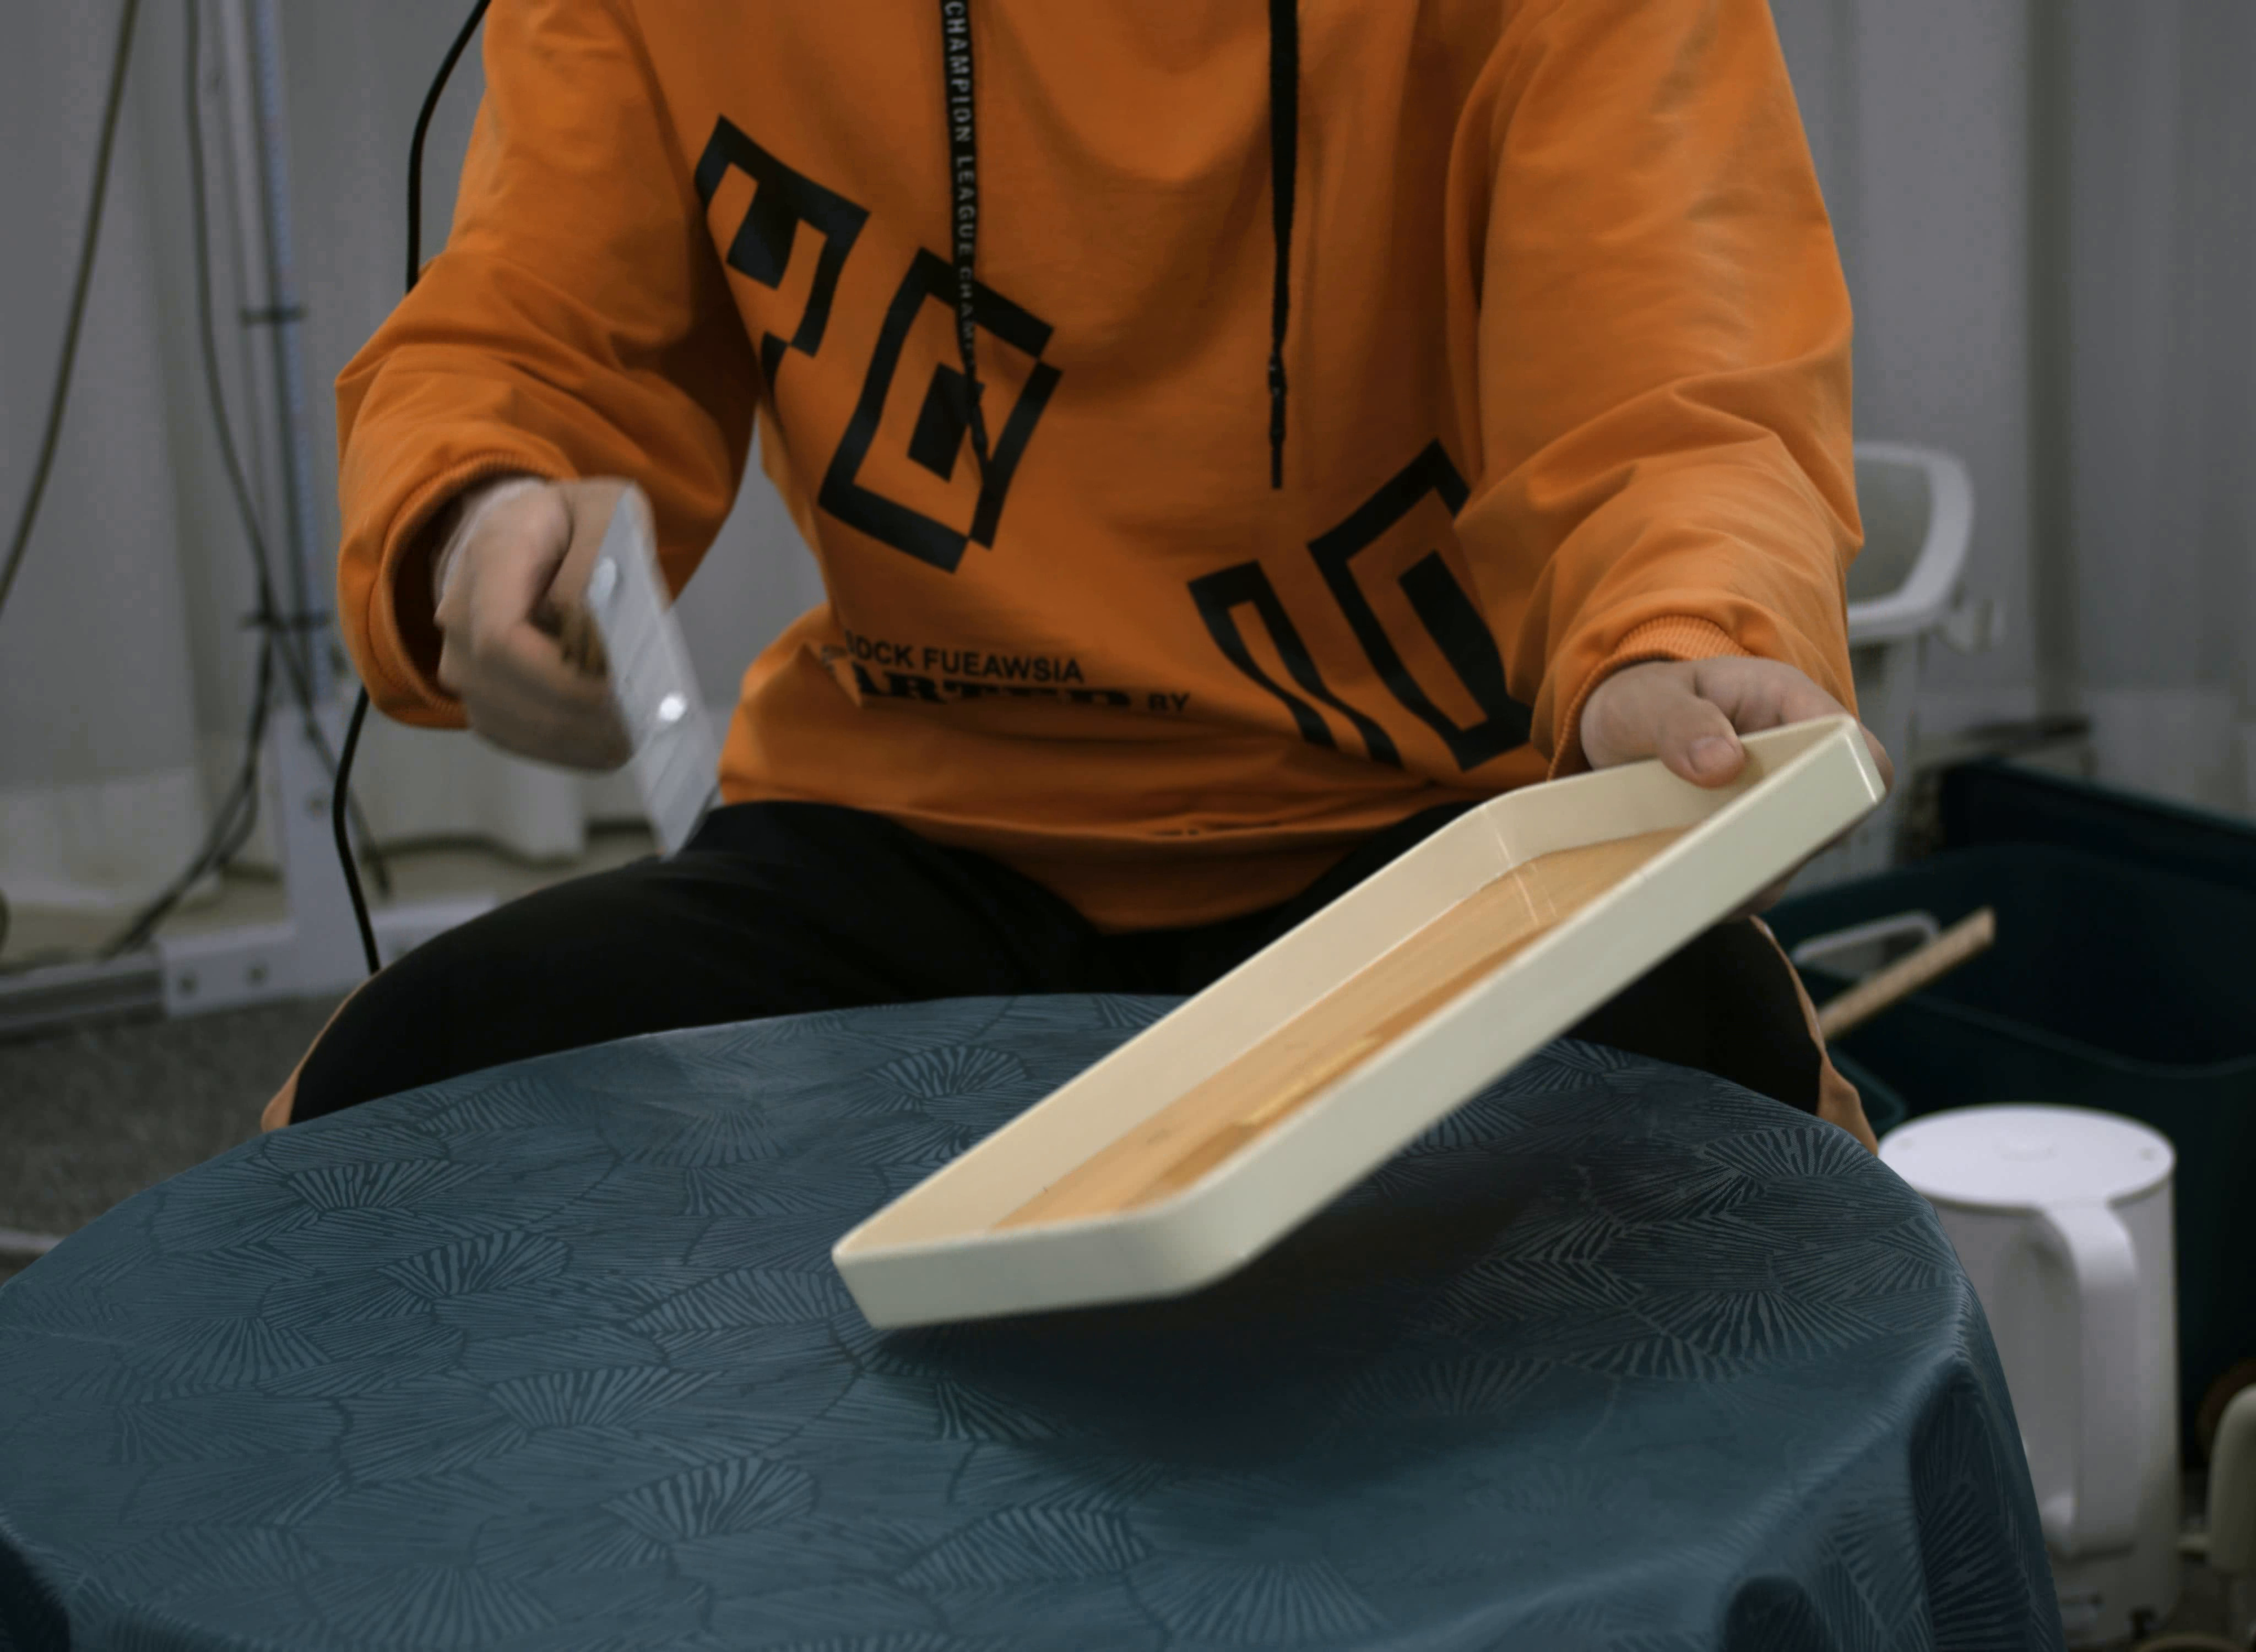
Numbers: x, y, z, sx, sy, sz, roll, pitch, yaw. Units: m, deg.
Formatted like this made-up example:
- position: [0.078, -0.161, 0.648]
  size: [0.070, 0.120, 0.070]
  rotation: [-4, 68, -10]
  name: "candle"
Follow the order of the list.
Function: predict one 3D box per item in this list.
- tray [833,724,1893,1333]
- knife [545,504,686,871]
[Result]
- position: [0.070, 0.059, 1.594]
  size: [0.301, 0.027, 0.191]
  rotation: [-34, 12, -33]
  name: "tray"
- position: [-0.154, -0.033, 1.673]
  size: [0.021, 0.093, 0.305]
  rotation: [-17, -4, -9]
  name: "knife"
